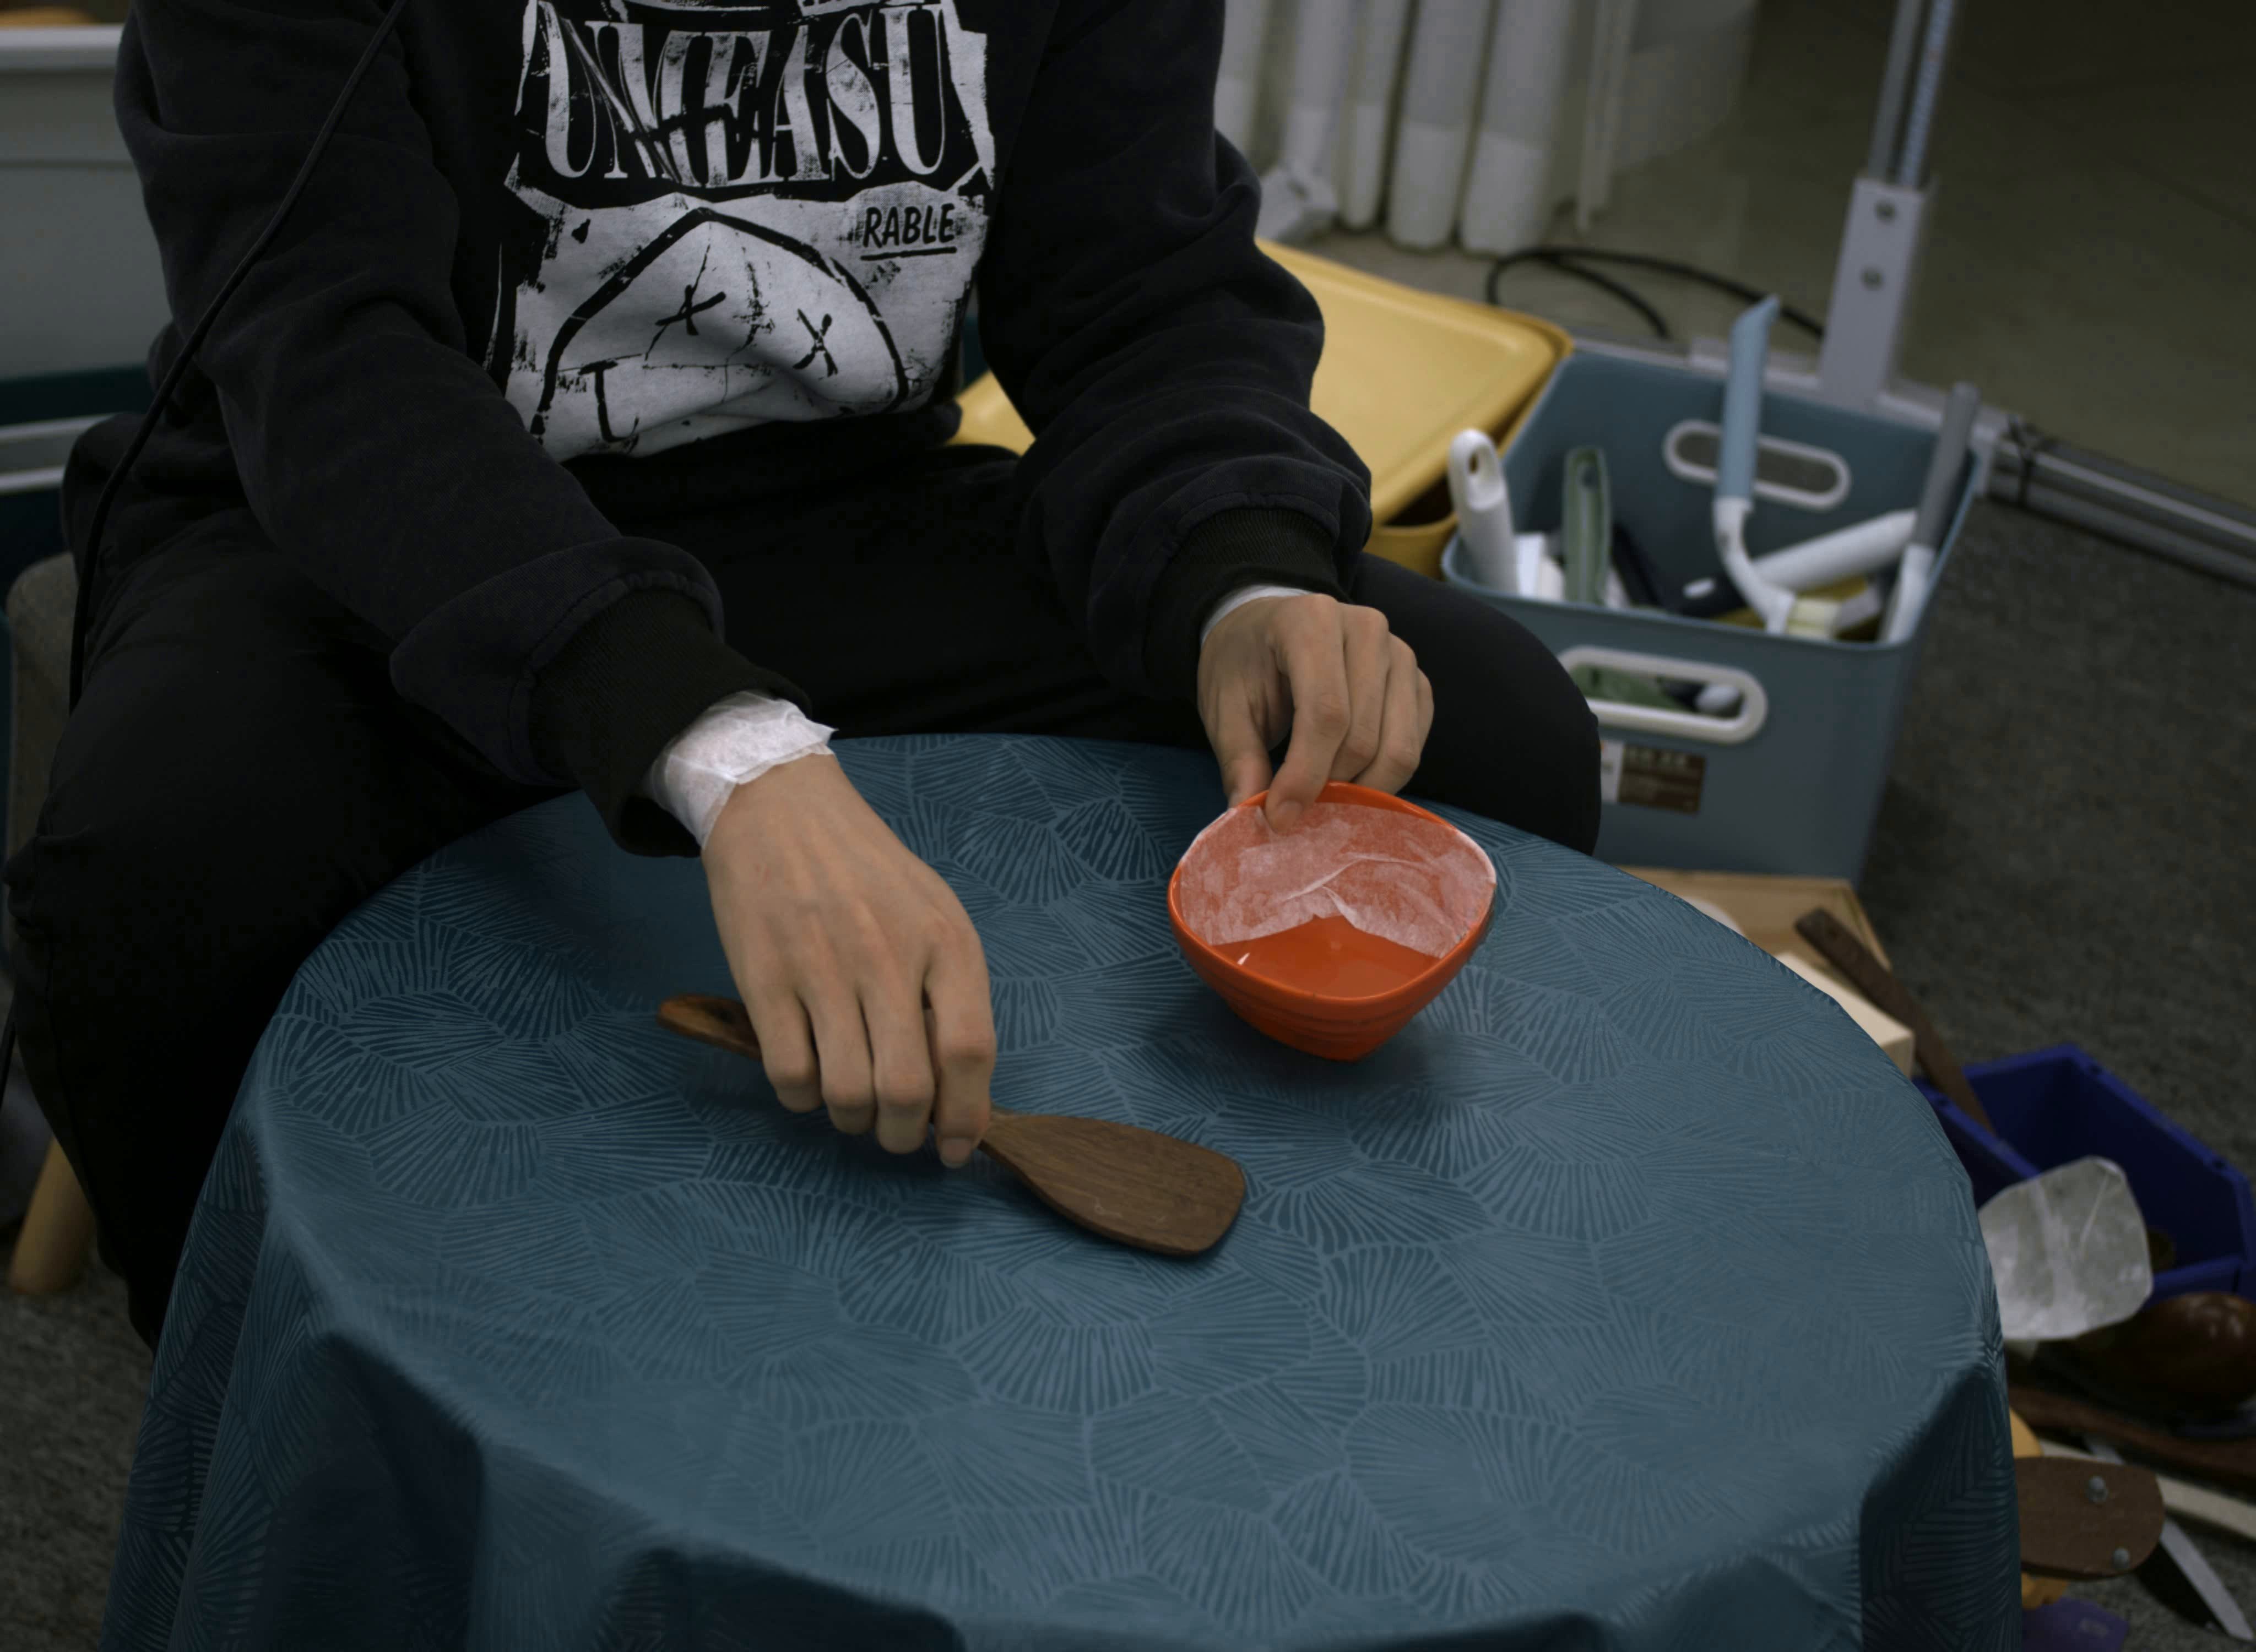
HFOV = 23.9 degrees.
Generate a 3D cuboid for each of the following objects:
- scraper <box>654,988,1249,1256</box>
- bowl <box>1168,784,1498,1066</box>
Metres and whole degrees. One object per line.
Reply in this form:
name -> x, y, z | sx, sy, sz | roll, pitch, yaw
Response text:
scraper -> -0.062, 0.097, 1.803 | 0.211, 0.011, 0.076 | 20, 26, 7
bowl -> 0.073, 0.042, 1.909 | 0.118, 0.051, 0.120 | -2, 41, 1
